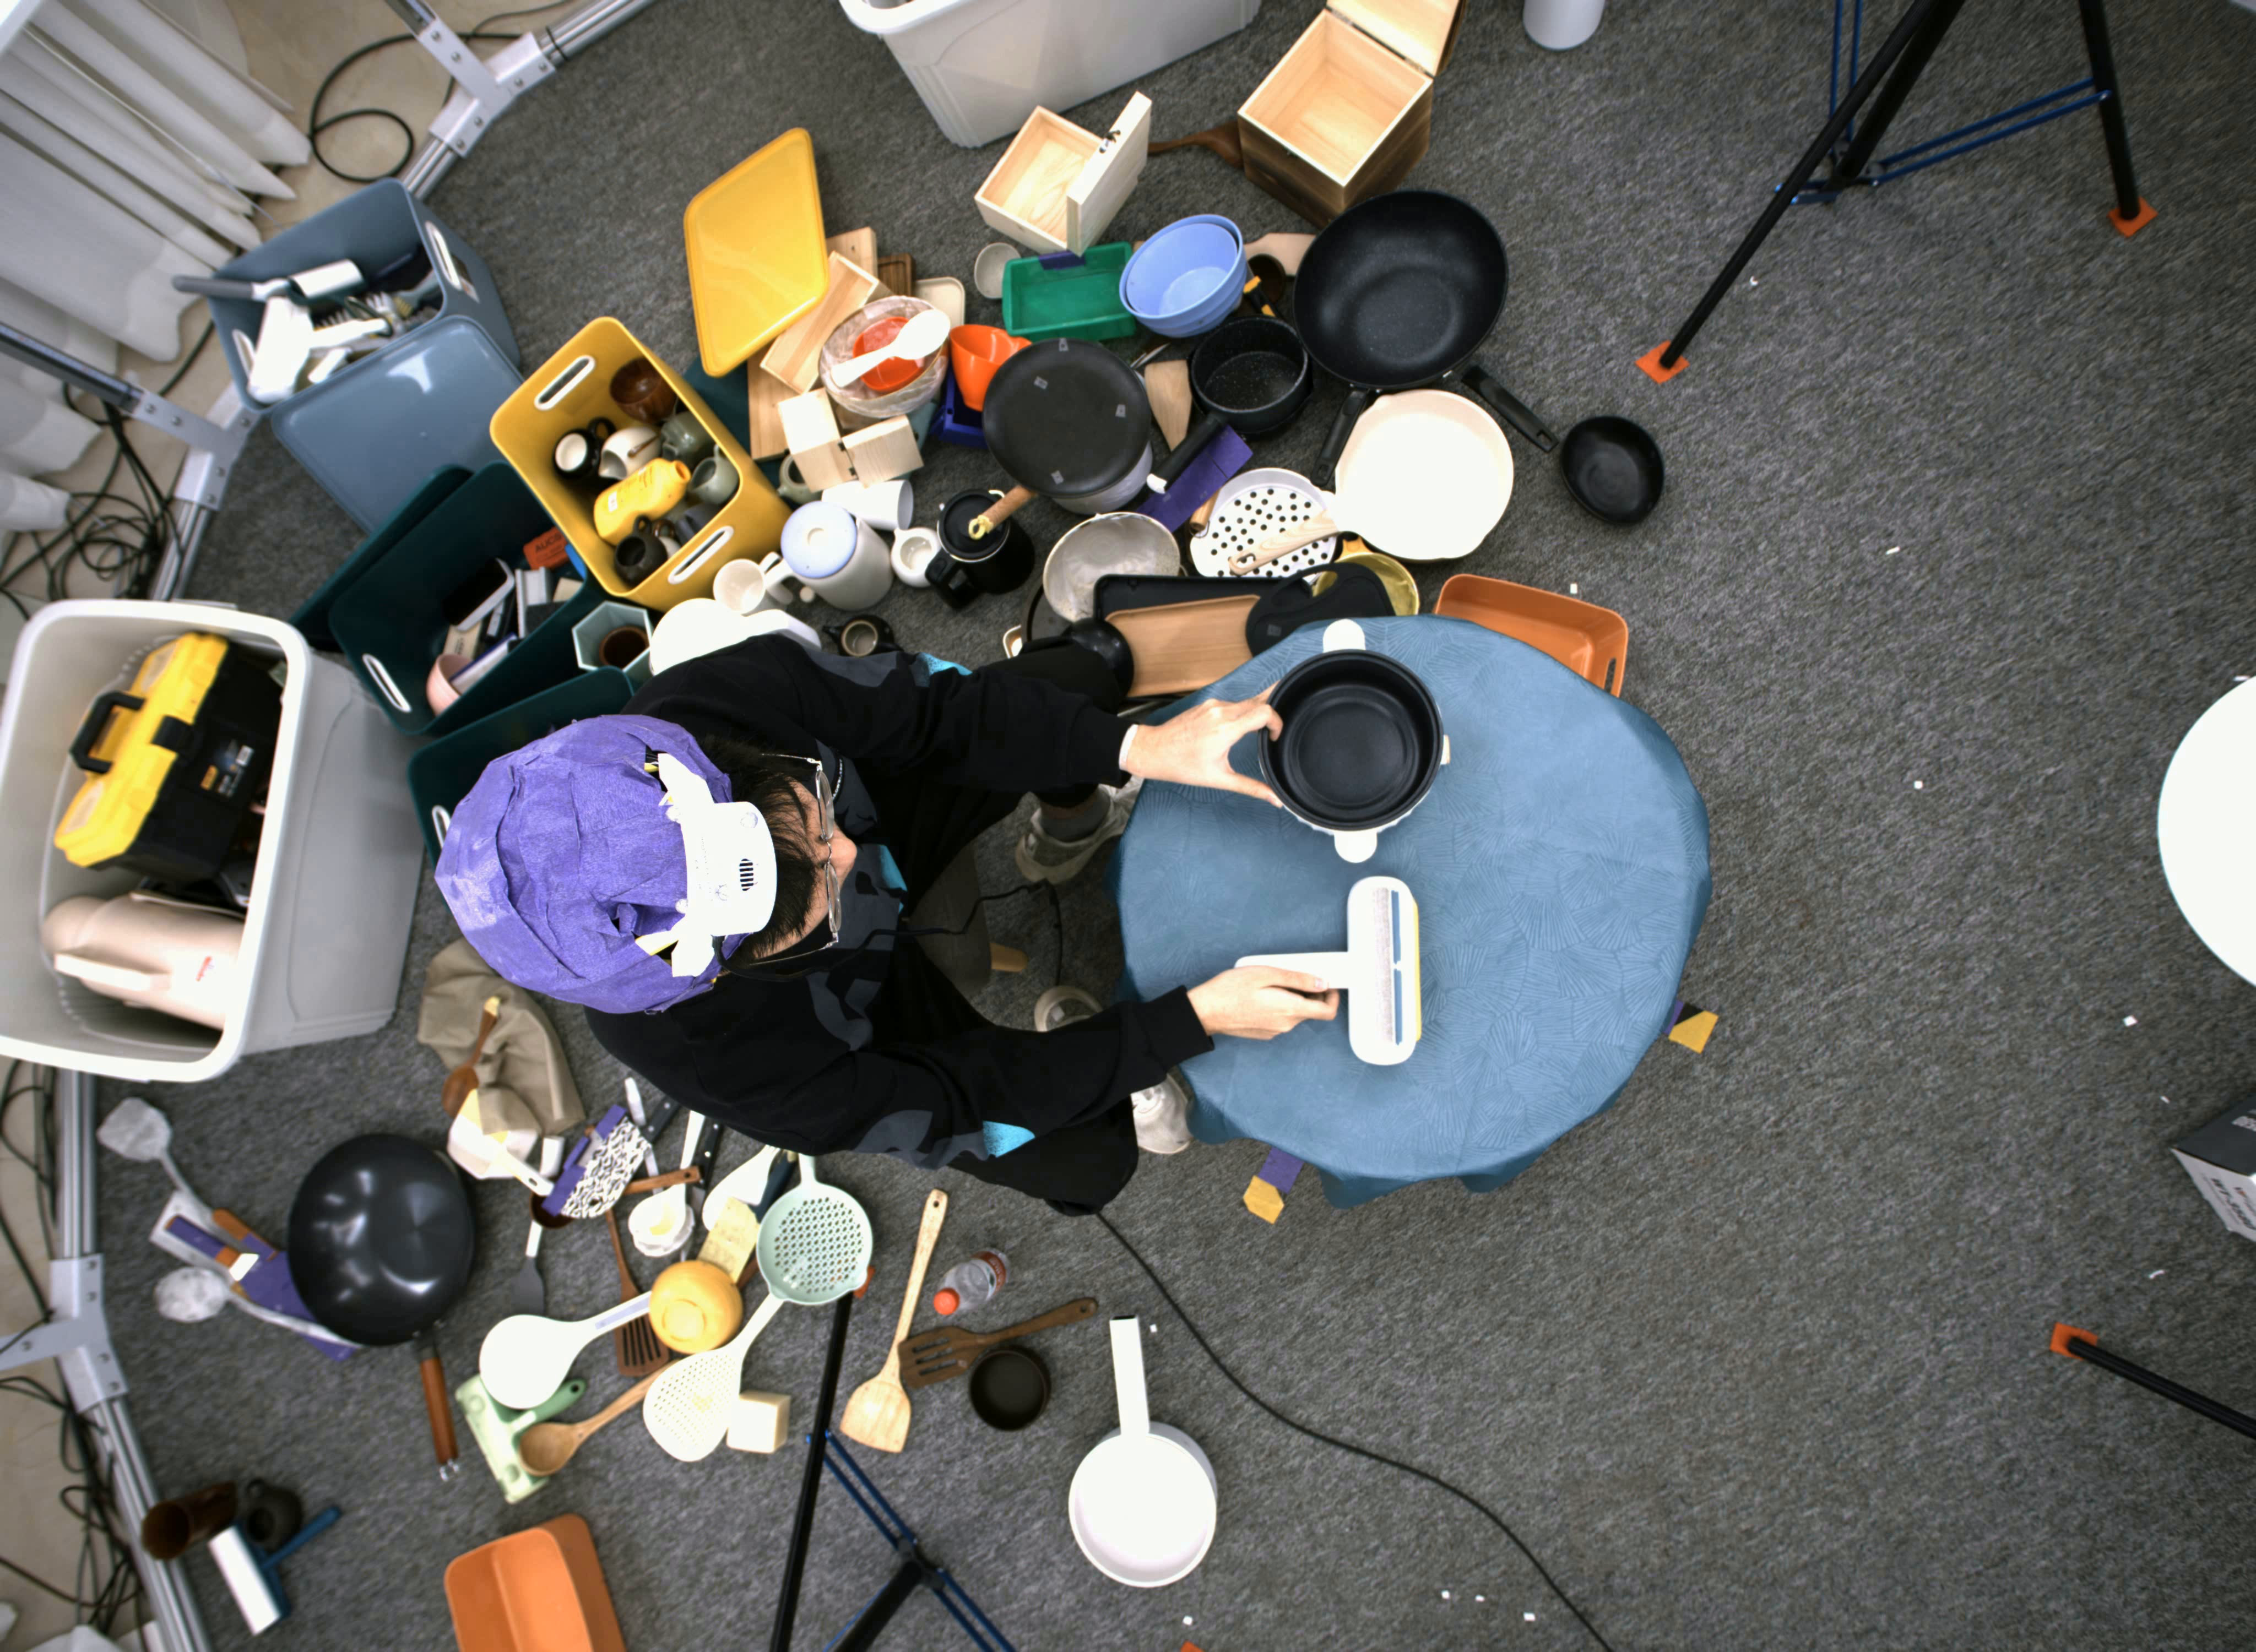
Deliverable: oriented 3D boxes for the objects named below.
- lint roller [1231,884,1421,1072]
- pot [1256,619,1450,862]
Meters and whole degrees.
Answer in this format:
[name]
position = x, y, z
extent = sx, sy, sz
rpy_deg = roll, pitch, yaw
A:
[lint roller]
position = 0.201, 0.151, 1.425
extent = 0.193, 0.074, 0.191
rpy_deg = 4, 81, 7
[pot]
position = 0.231, -0.081, 1.399
extent = 0.191, 0.142, 0.239
rpy_deg = -4, 87, 12
